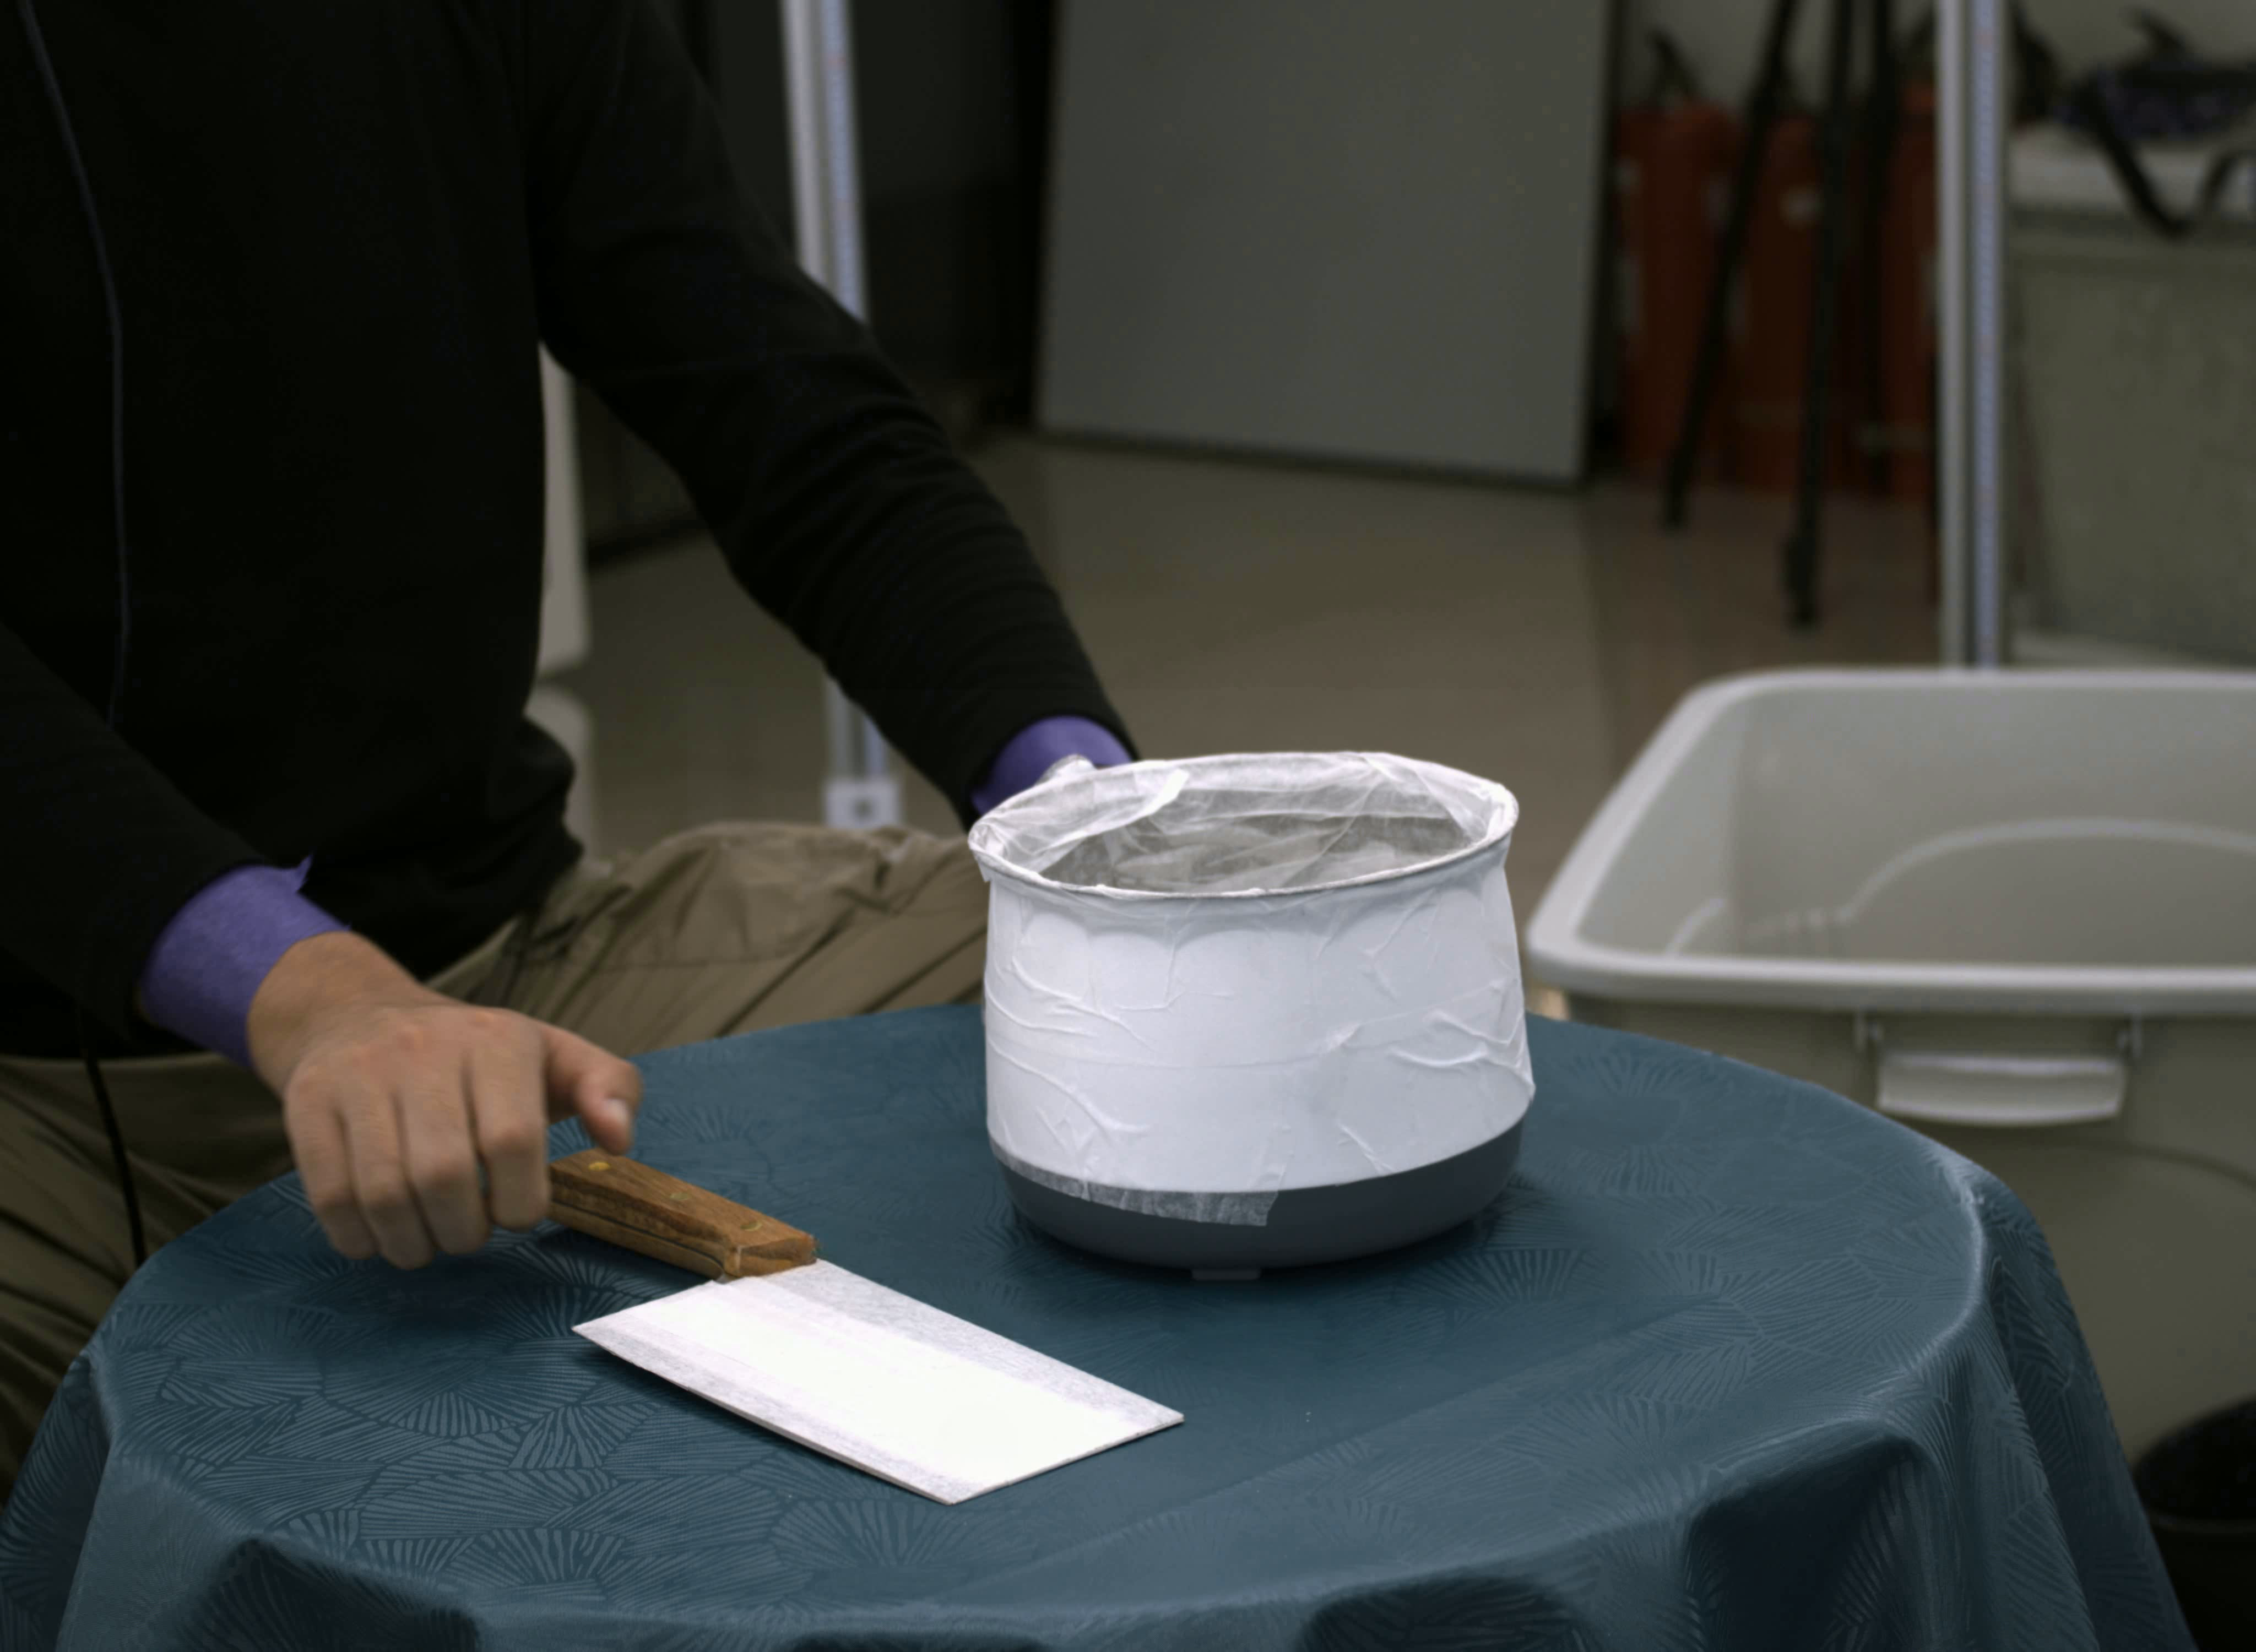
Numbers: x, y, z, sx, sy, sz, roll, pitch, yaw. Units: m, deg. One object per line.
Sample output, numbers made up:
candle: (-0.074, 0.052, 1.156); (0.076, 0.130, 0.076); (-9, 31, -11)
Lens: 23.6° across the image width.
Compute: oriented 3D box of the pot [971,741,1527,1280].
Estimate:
pot: (0.024, 0.052, 1.751); (0.175, 0.138, 0.236); (-12, 17, -32)

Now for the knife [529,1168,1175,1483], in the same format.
knife: (-0.110, 0.153, 1.651); (0.091, 0.021, 0.309); (-13, 18, -36)
